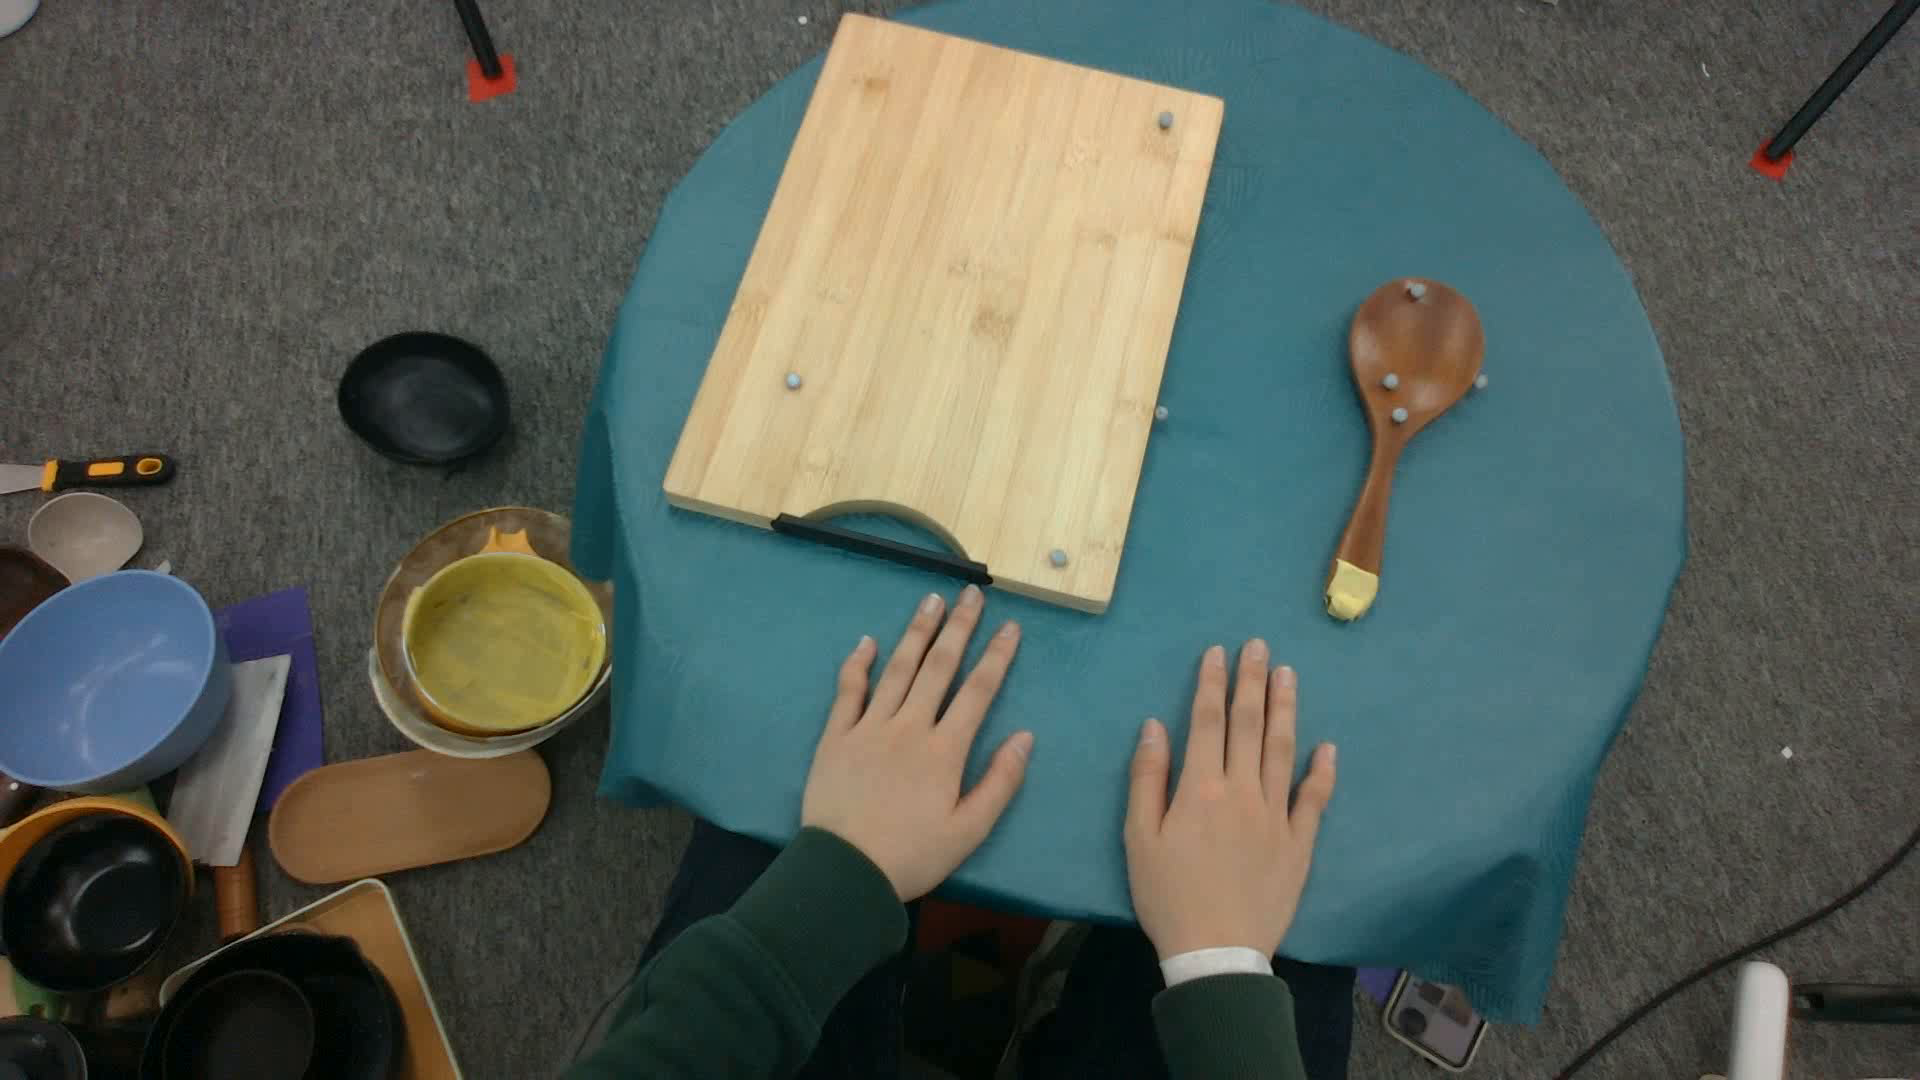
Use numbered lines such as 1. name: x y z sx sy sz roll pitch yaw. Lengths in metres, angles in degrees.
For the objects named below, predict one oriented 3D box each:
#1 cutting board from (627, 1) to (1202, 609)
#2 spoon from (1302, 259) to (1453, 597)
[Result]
1. cutting board: -0.012 -0.147 0.777 0.250 0.023 0.350 13 66 3
2. spoon: 0.222 -0.065 0.756 0.075 0.017 0.216 19 66 3
